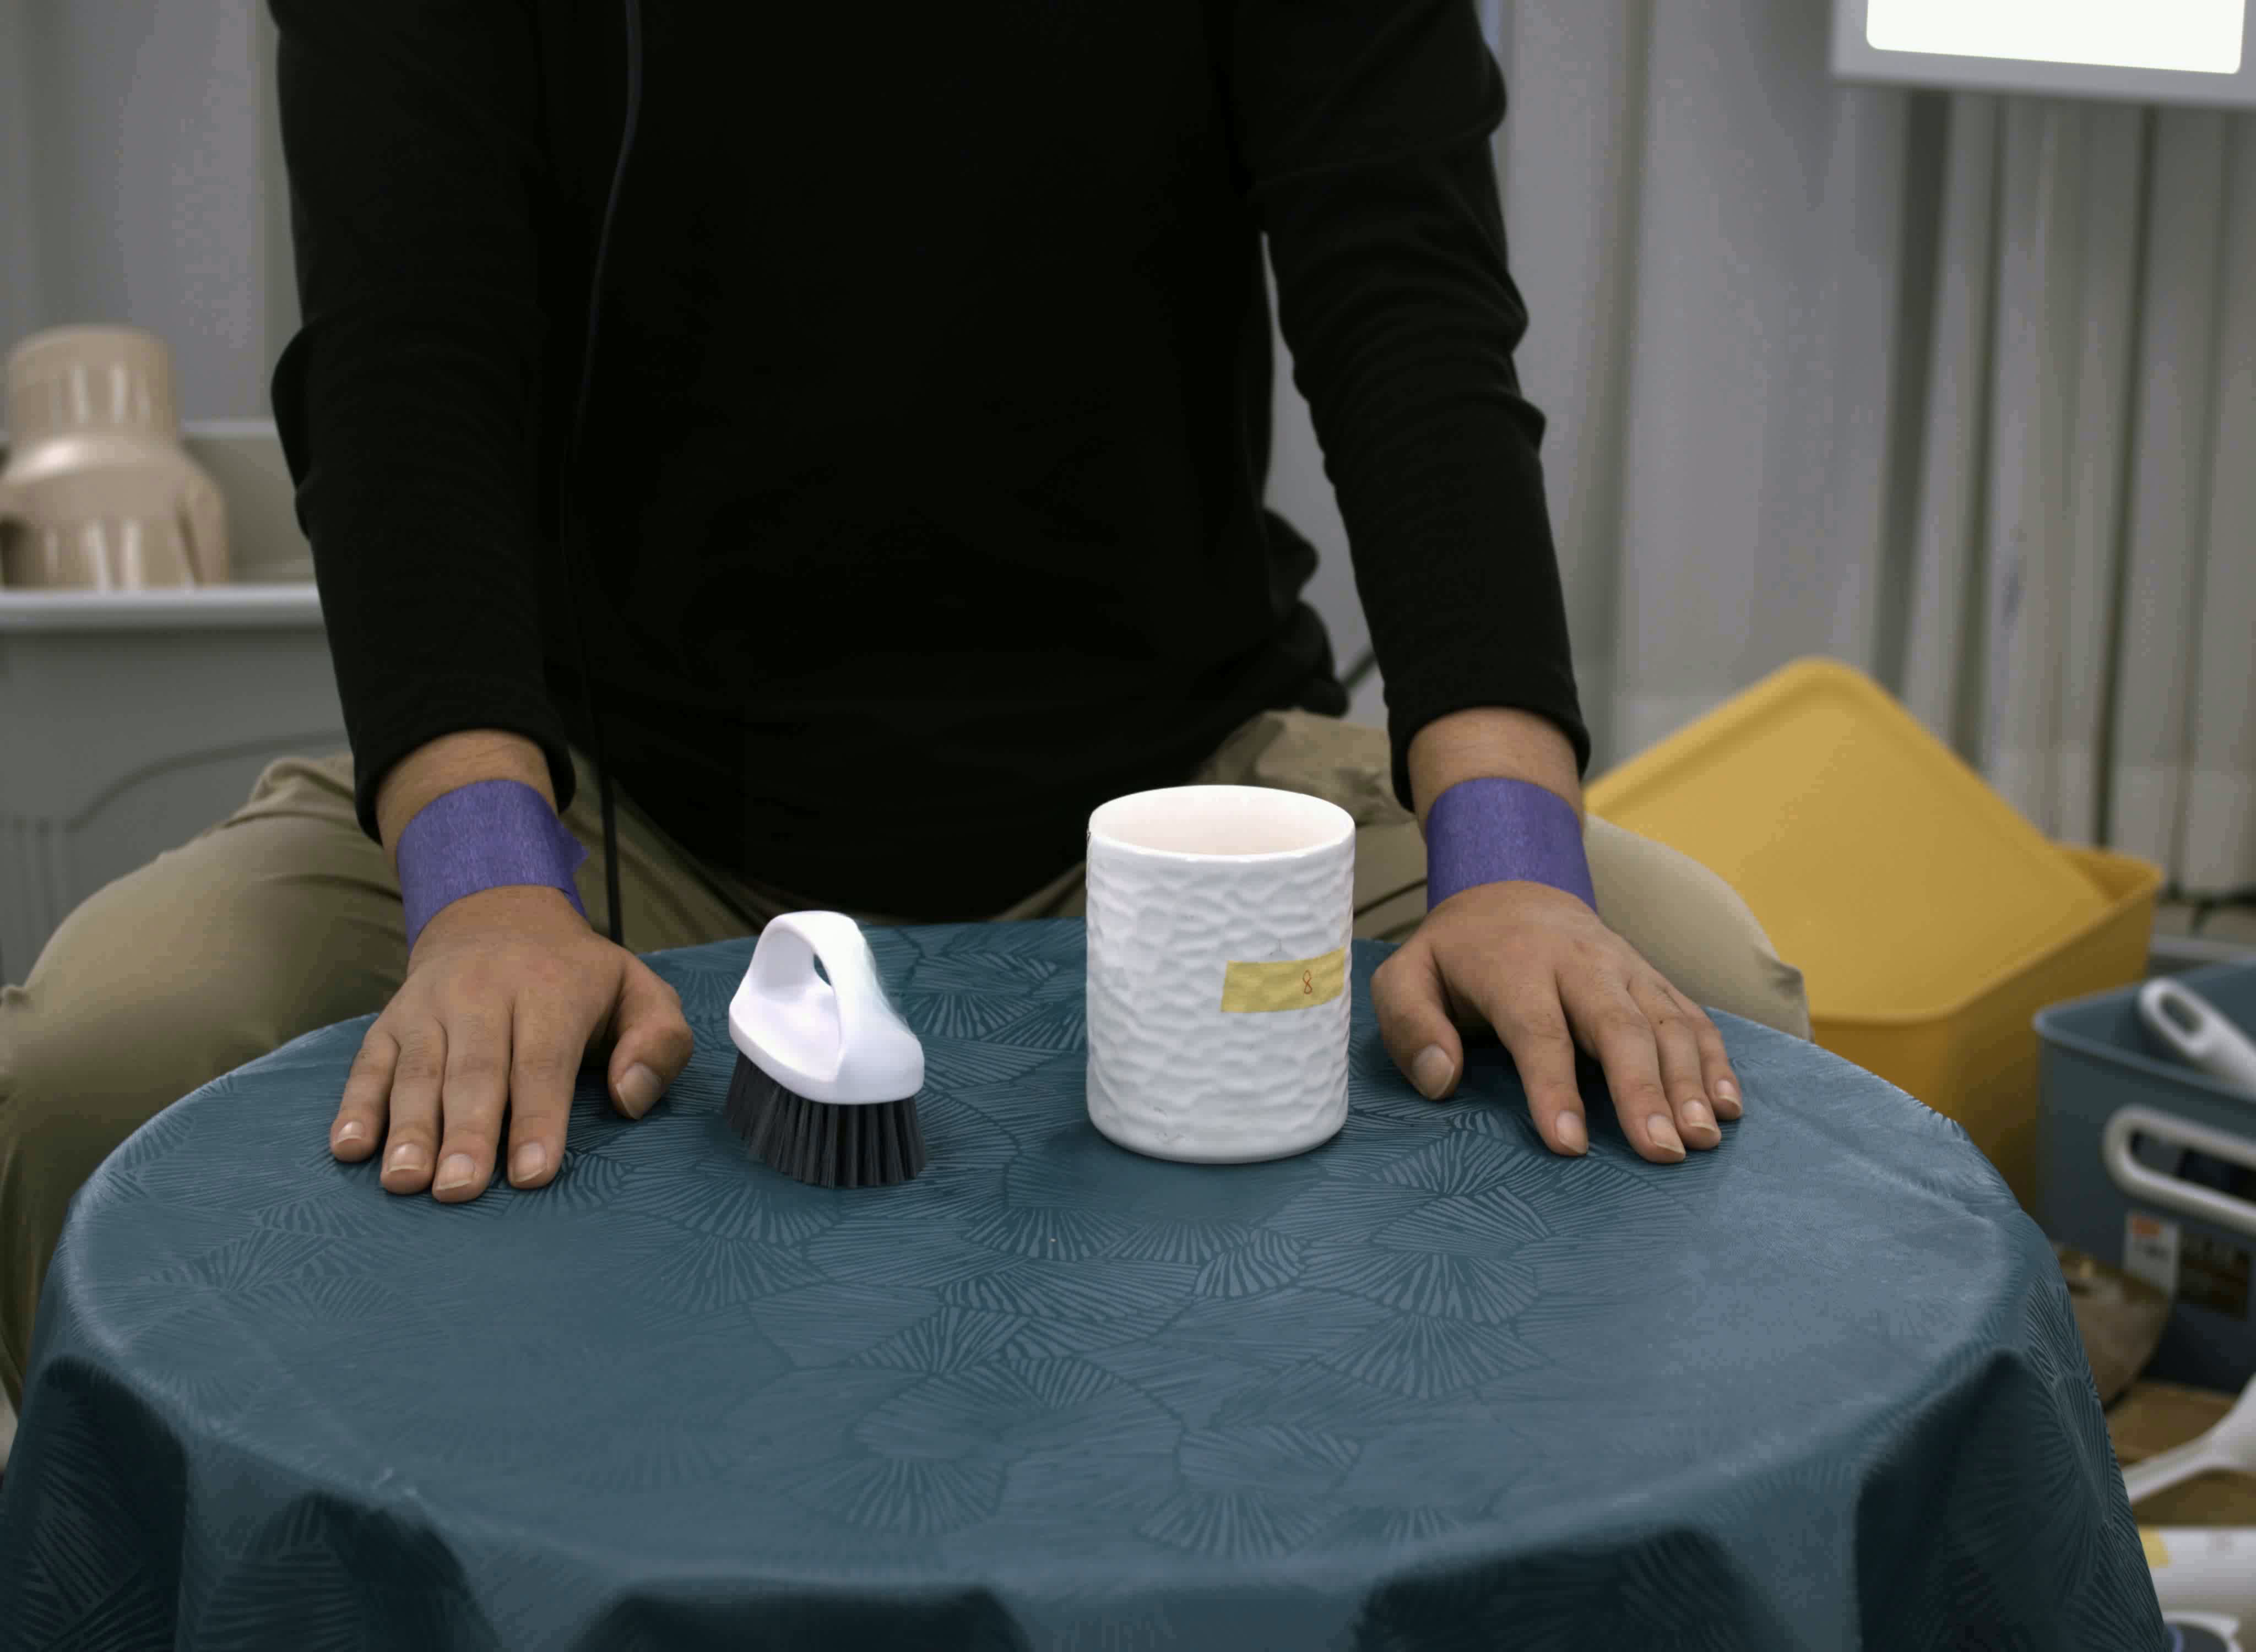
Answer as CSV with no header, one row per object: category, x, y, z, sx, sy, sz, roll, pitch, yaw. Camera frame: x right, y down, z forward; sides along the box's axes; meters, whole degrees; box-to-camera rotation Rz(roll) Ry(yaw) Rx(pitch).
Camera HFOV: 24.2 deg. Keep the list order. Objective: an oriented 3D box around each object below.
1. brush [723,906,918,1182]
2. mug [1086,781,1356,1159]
brush,-0.097,0.063,1.655,0.050,0.073,0.098,-4,17,-21
mug,0.026,0.041,1.684,0.085,0.103,0.117,-3,16,-13
